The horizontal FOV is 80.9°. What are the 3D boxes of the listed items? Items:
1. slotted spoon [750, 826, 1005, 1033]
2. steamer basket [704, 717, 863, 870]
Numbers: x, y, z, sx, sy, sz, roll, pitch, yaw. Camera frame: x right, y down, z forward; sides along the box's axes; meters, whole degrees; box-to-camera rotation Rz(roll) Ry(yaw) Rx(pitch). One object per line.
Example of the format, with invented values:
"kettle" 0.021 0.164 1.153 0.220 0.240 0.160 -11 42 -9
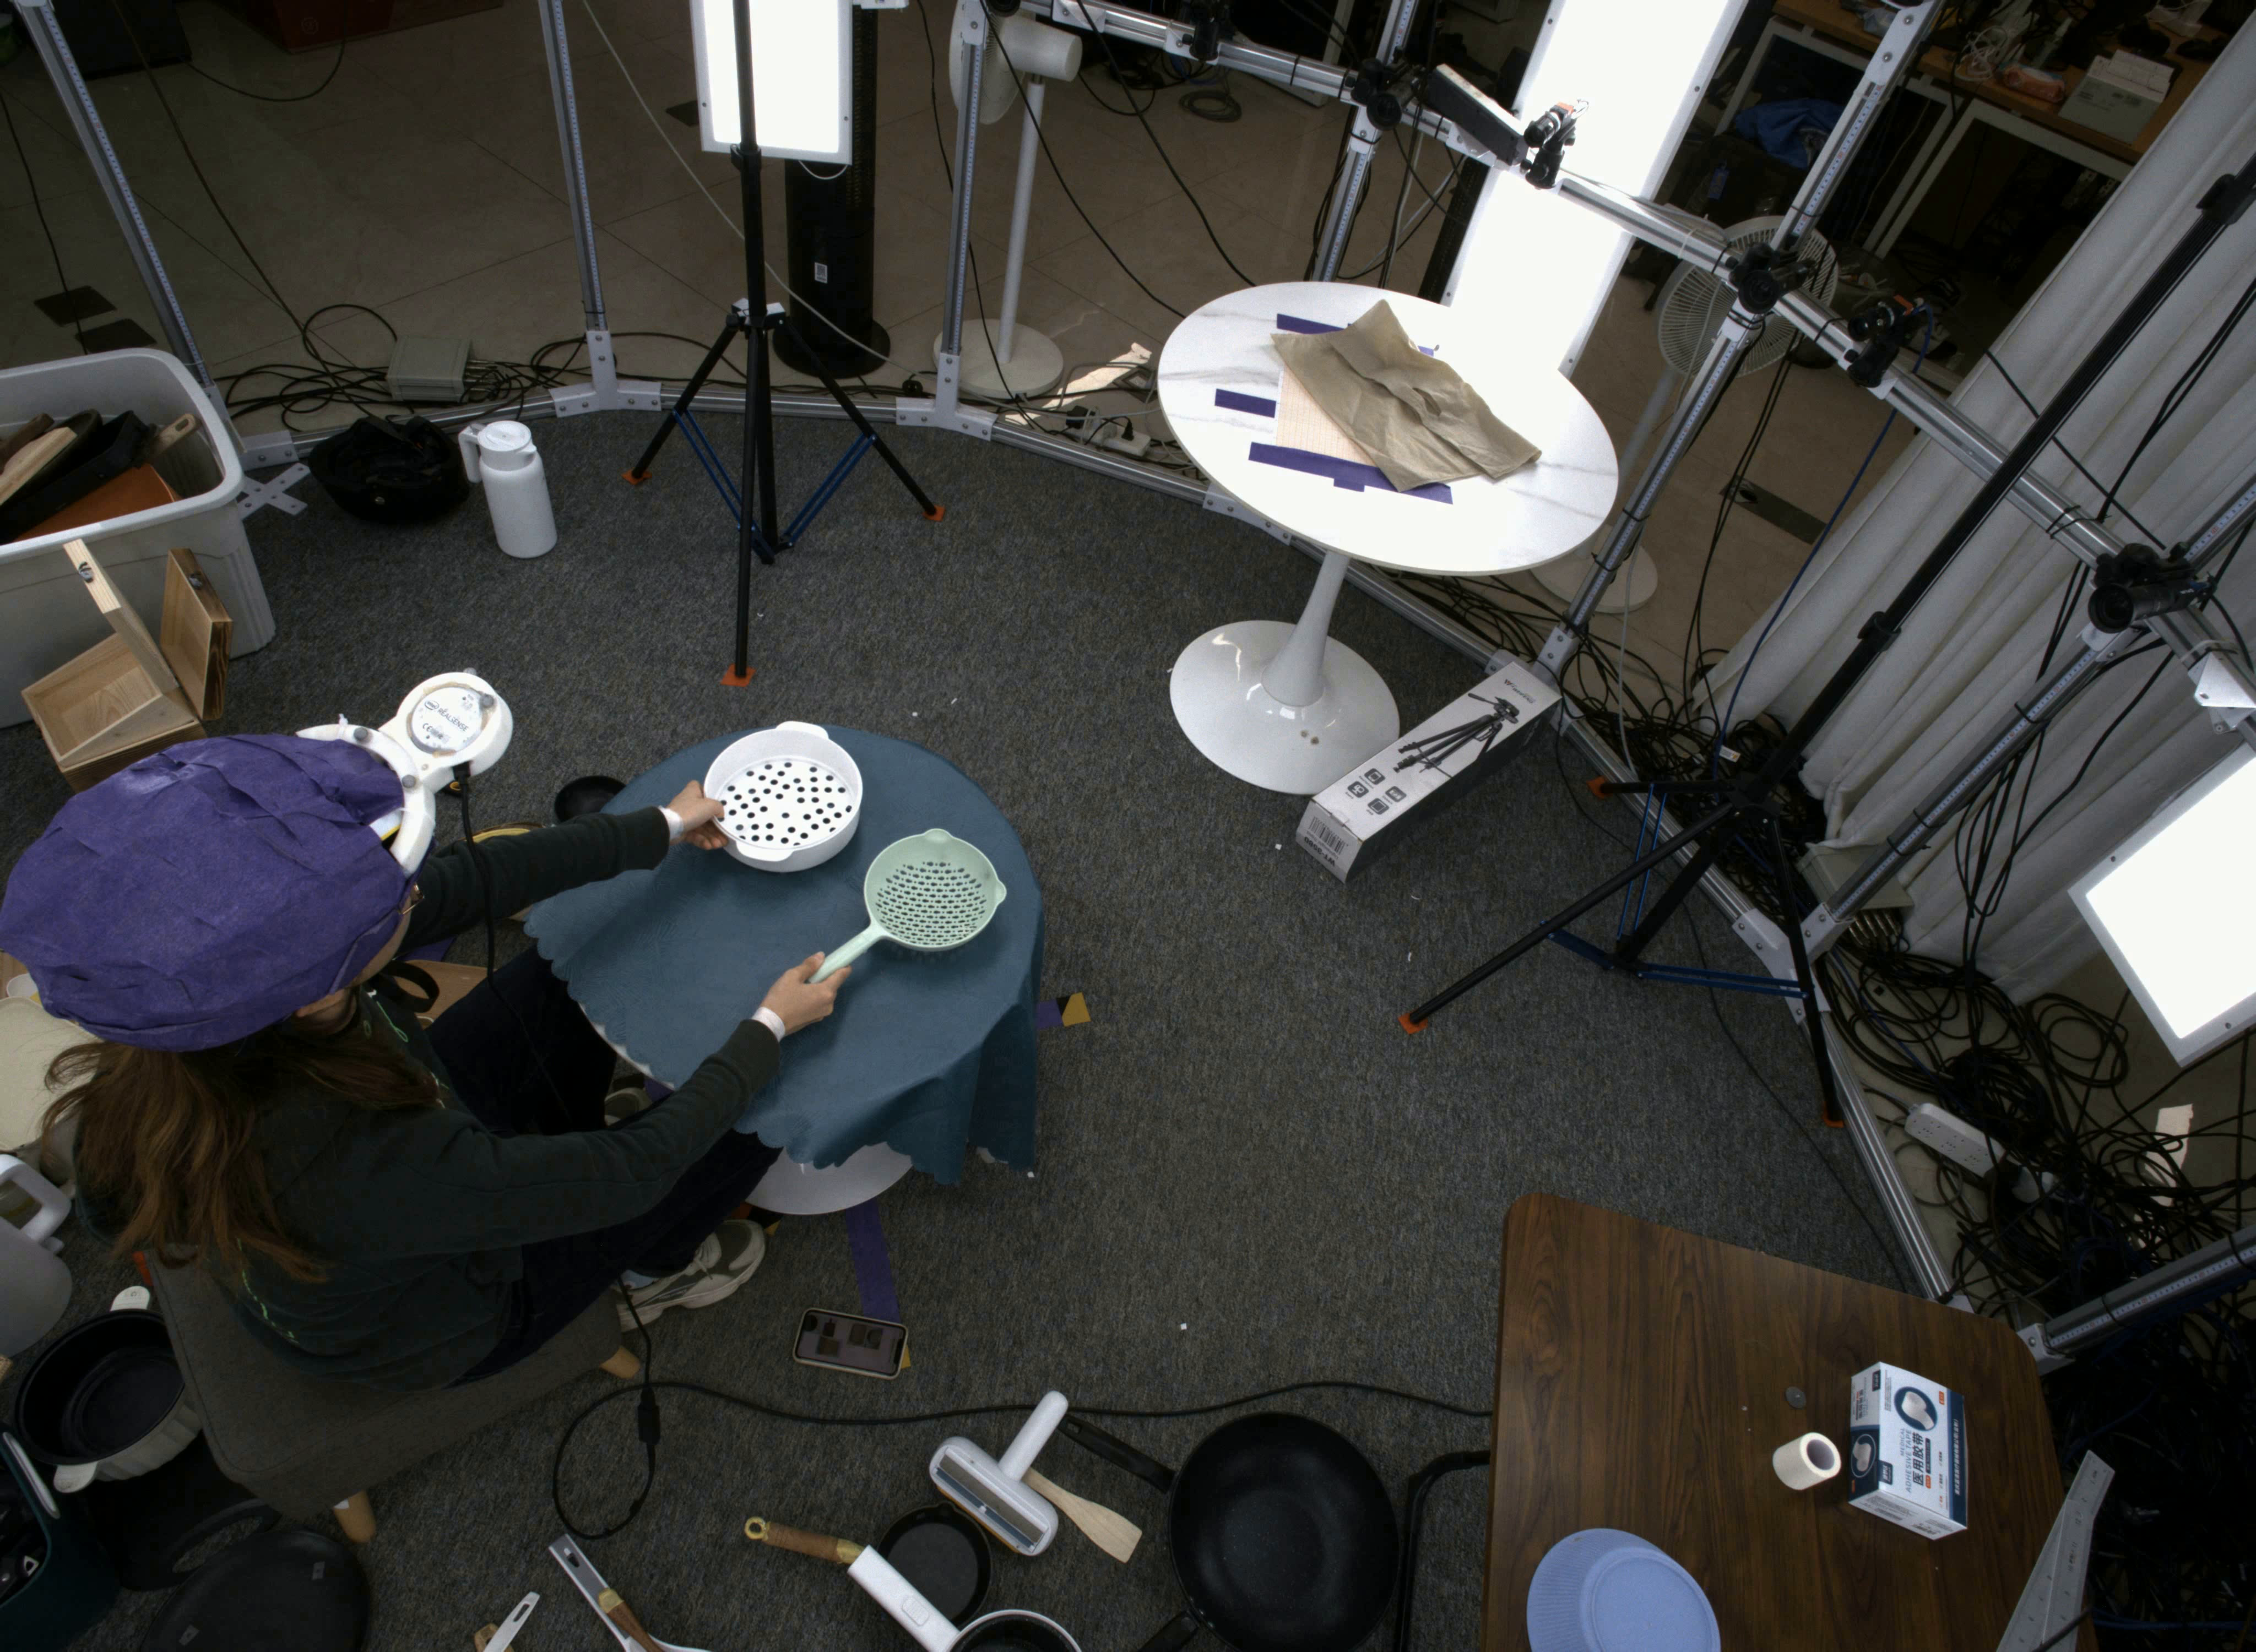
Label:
"slotted spoon" -0.316 0.135 1.604 0.166 0.077 0.360 42 50 17
"steamer basket" -0.451 -0.037 1.705 0.201 0.070 0.227 10 54 -6
